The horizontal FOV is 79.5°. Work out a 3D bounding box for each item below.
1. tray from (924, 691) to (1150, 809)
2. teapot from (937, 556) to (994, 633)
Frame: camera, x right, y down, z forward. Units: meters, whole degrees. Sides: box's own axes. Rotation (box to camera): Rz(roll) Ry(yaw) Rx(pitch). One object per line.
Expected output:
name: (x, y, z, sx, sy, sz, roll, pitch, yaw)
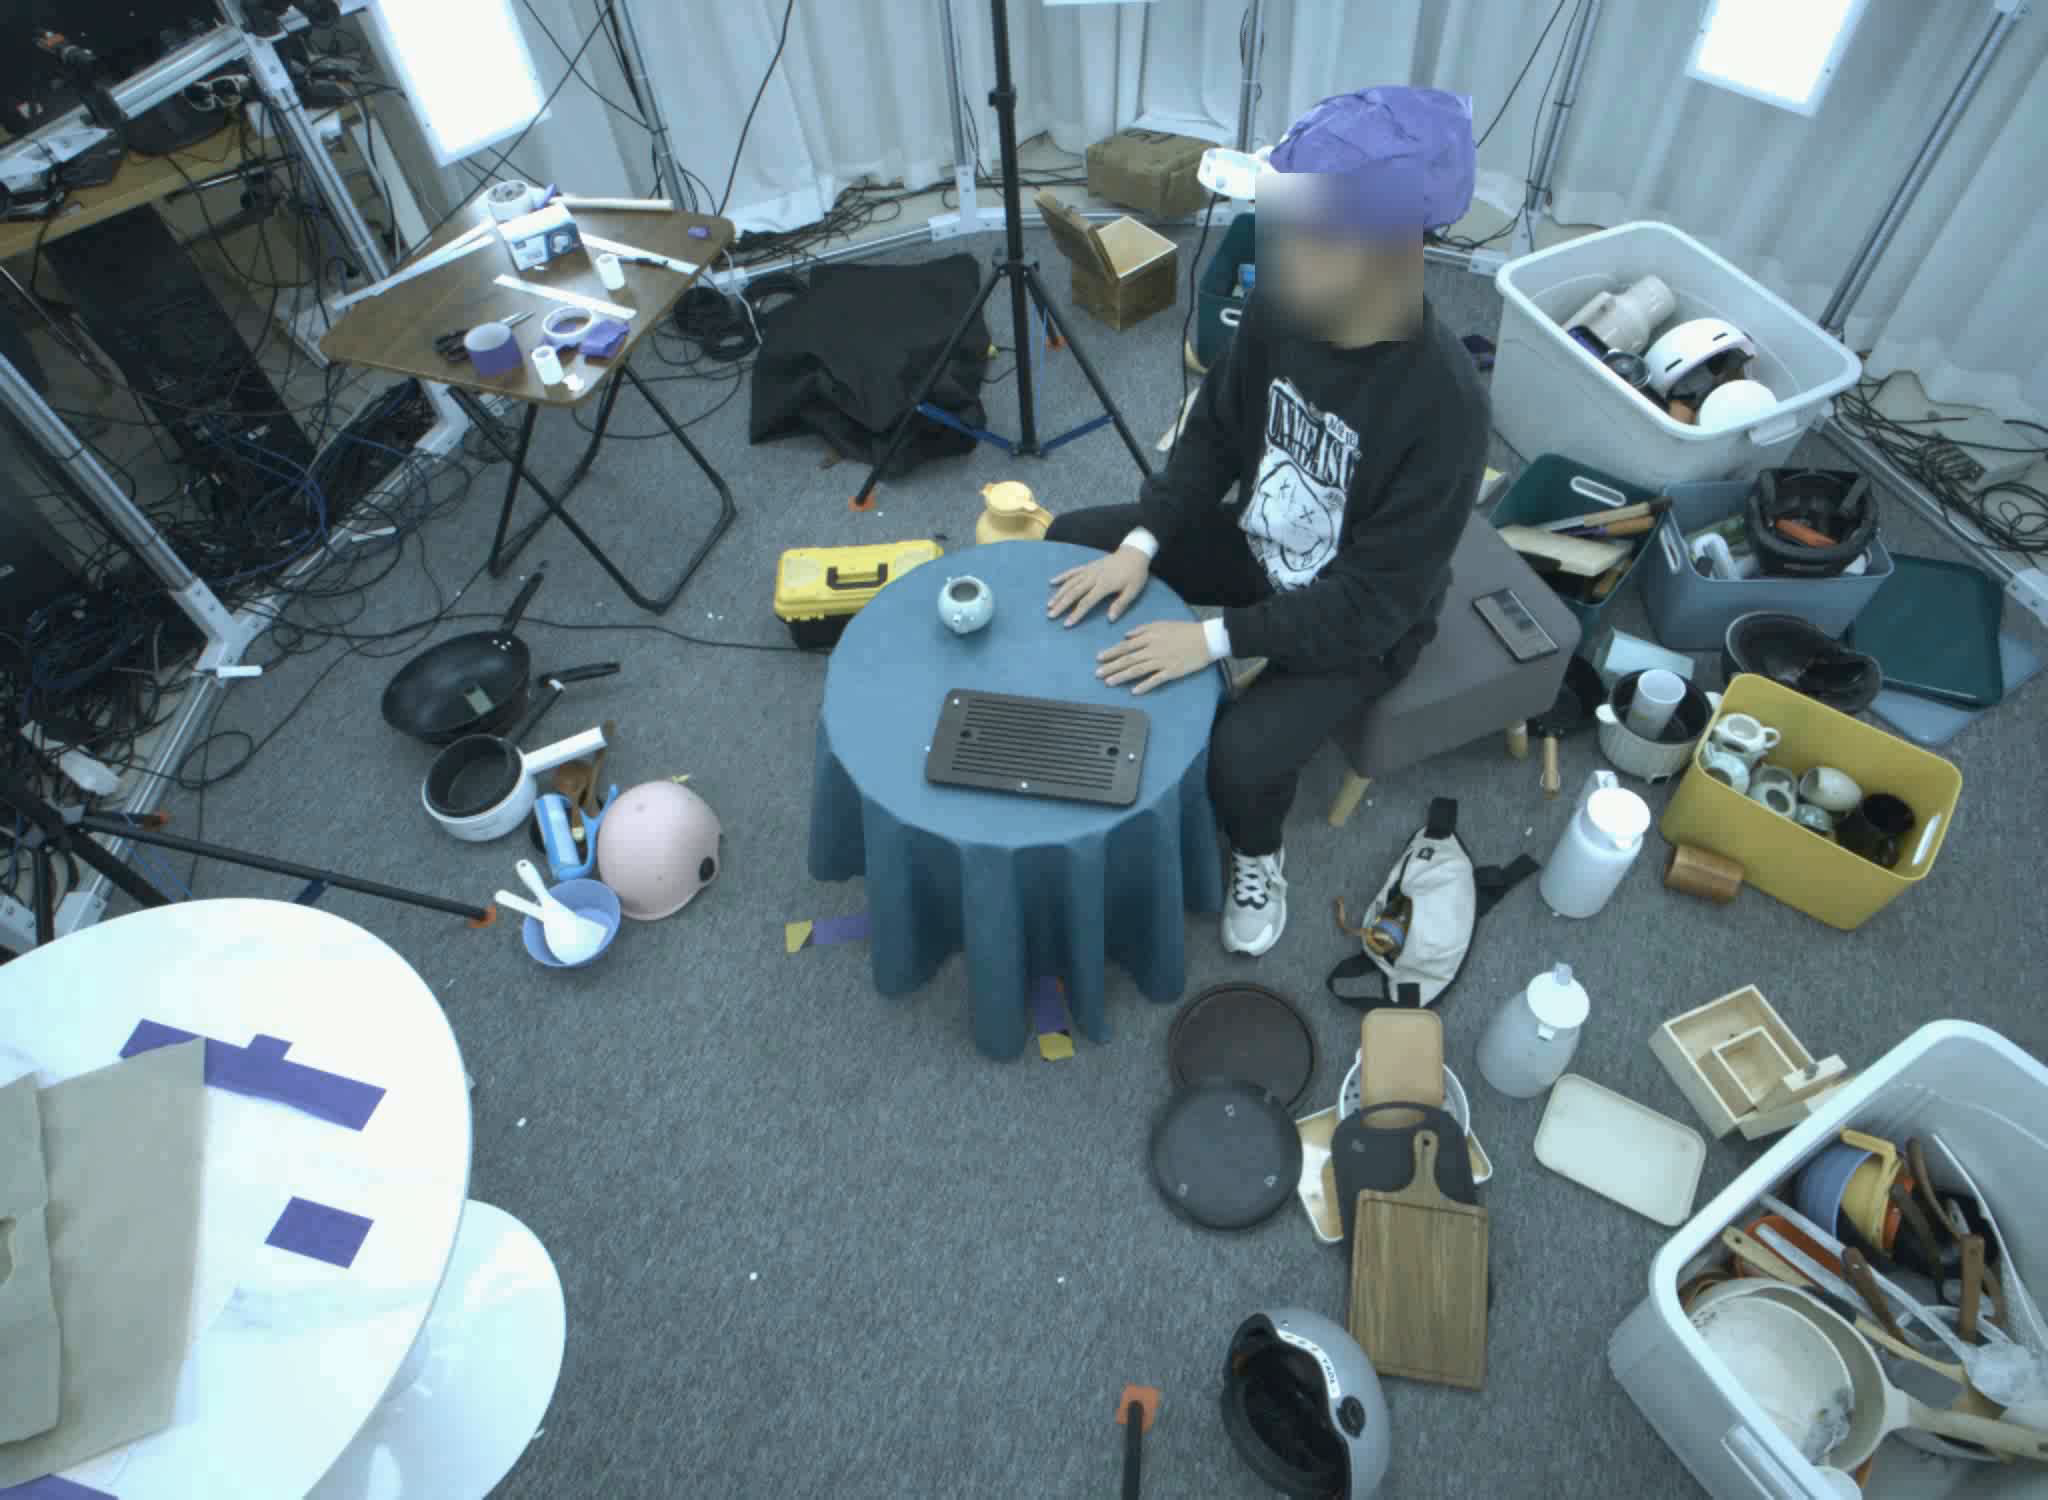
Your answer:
tray: (0.020, -0.001, 1.772, 0.304, 0.019, 0.169, 7, 55, 7)
teapot: (-0.091, -0.228, 1.904, 0.088, 0.075, 0.143, 6, 56, 7)
